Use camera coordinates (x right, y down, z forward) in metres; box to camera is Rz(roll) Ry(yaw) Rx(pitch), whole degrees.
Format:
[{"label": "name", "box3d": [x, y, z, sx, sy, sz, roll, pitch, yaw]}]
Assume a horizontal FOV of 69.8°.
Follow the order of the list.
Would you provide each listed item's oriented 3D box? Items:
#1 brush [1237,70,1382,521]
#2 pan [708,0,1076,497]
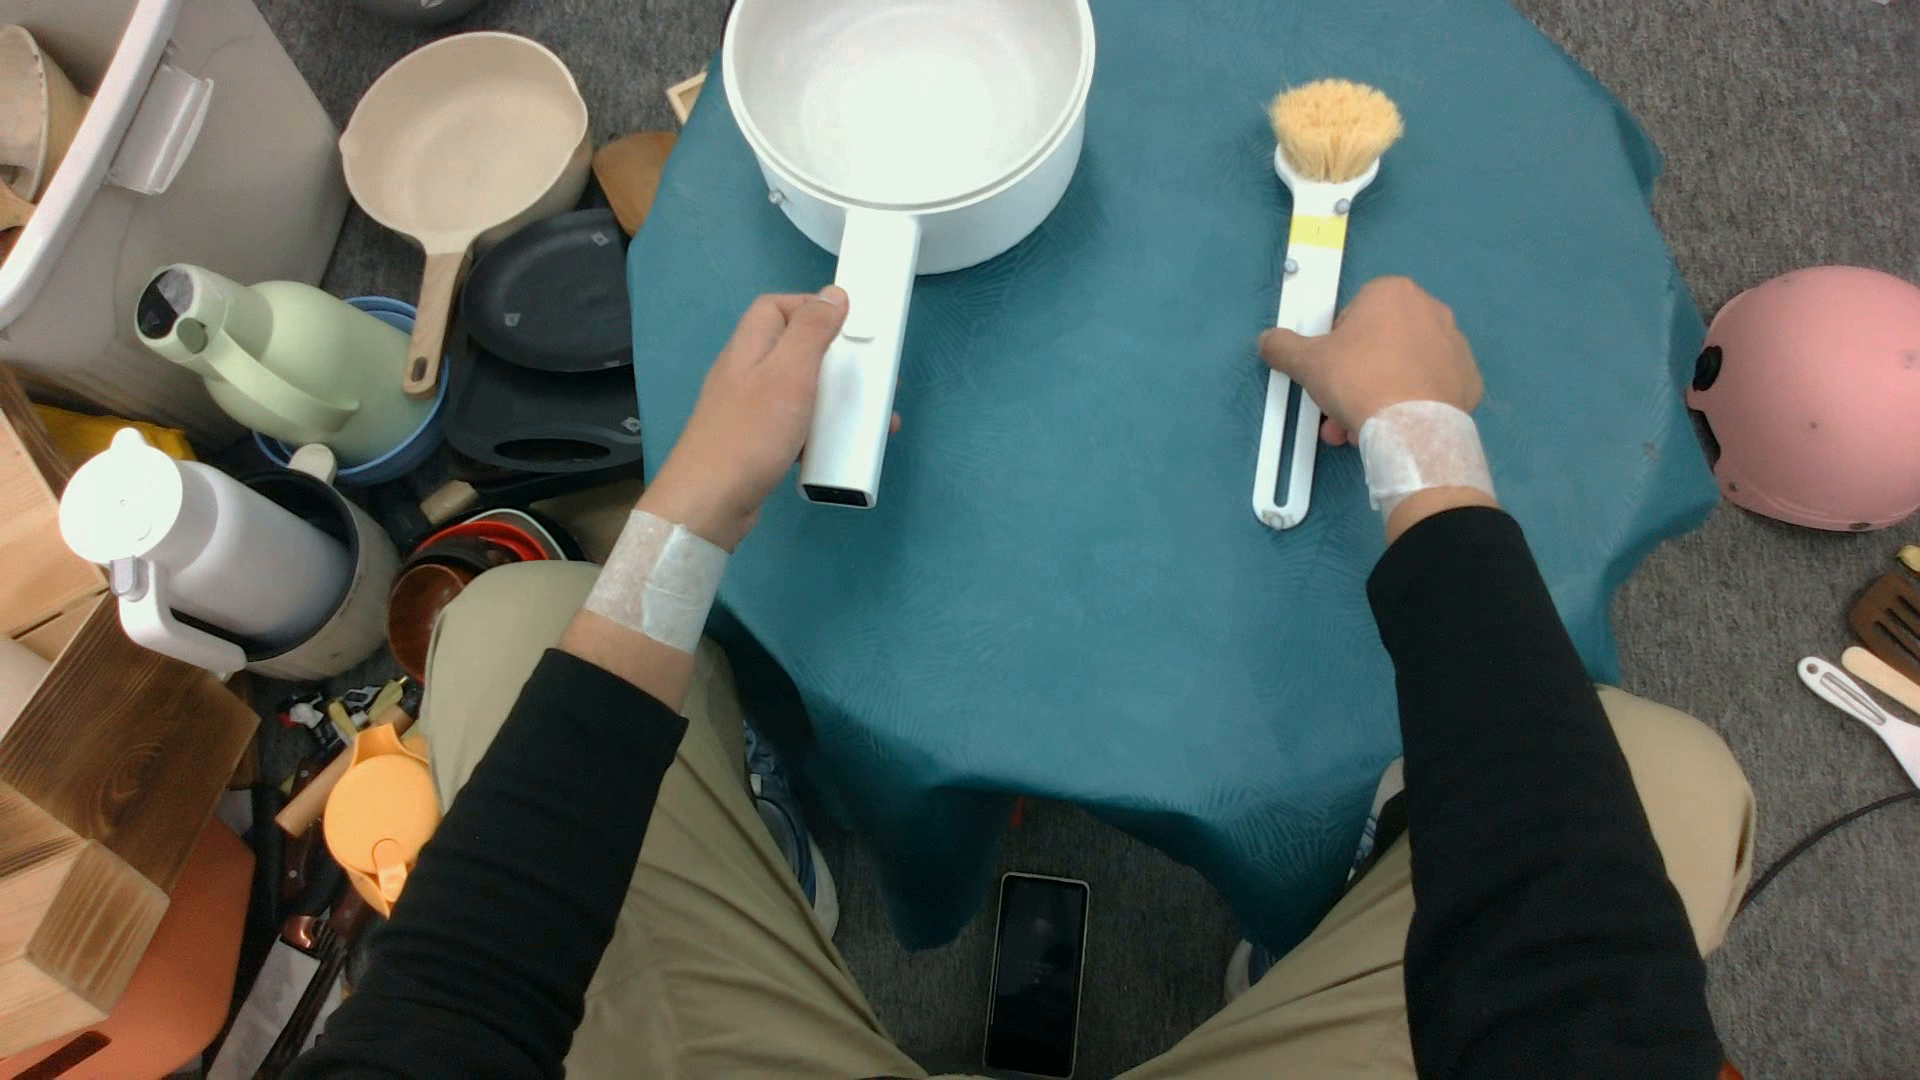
[{"label": "brush", "box3d": [0.187, -0.143, 0.767, 0.068, 0.056, 0.267, 7, 74, 17]}, {"label": "pan", "box3d": [-0.047, -0.186, 0.769, 0.201, 0.102, 0.355, 7, 74, 3]}]
